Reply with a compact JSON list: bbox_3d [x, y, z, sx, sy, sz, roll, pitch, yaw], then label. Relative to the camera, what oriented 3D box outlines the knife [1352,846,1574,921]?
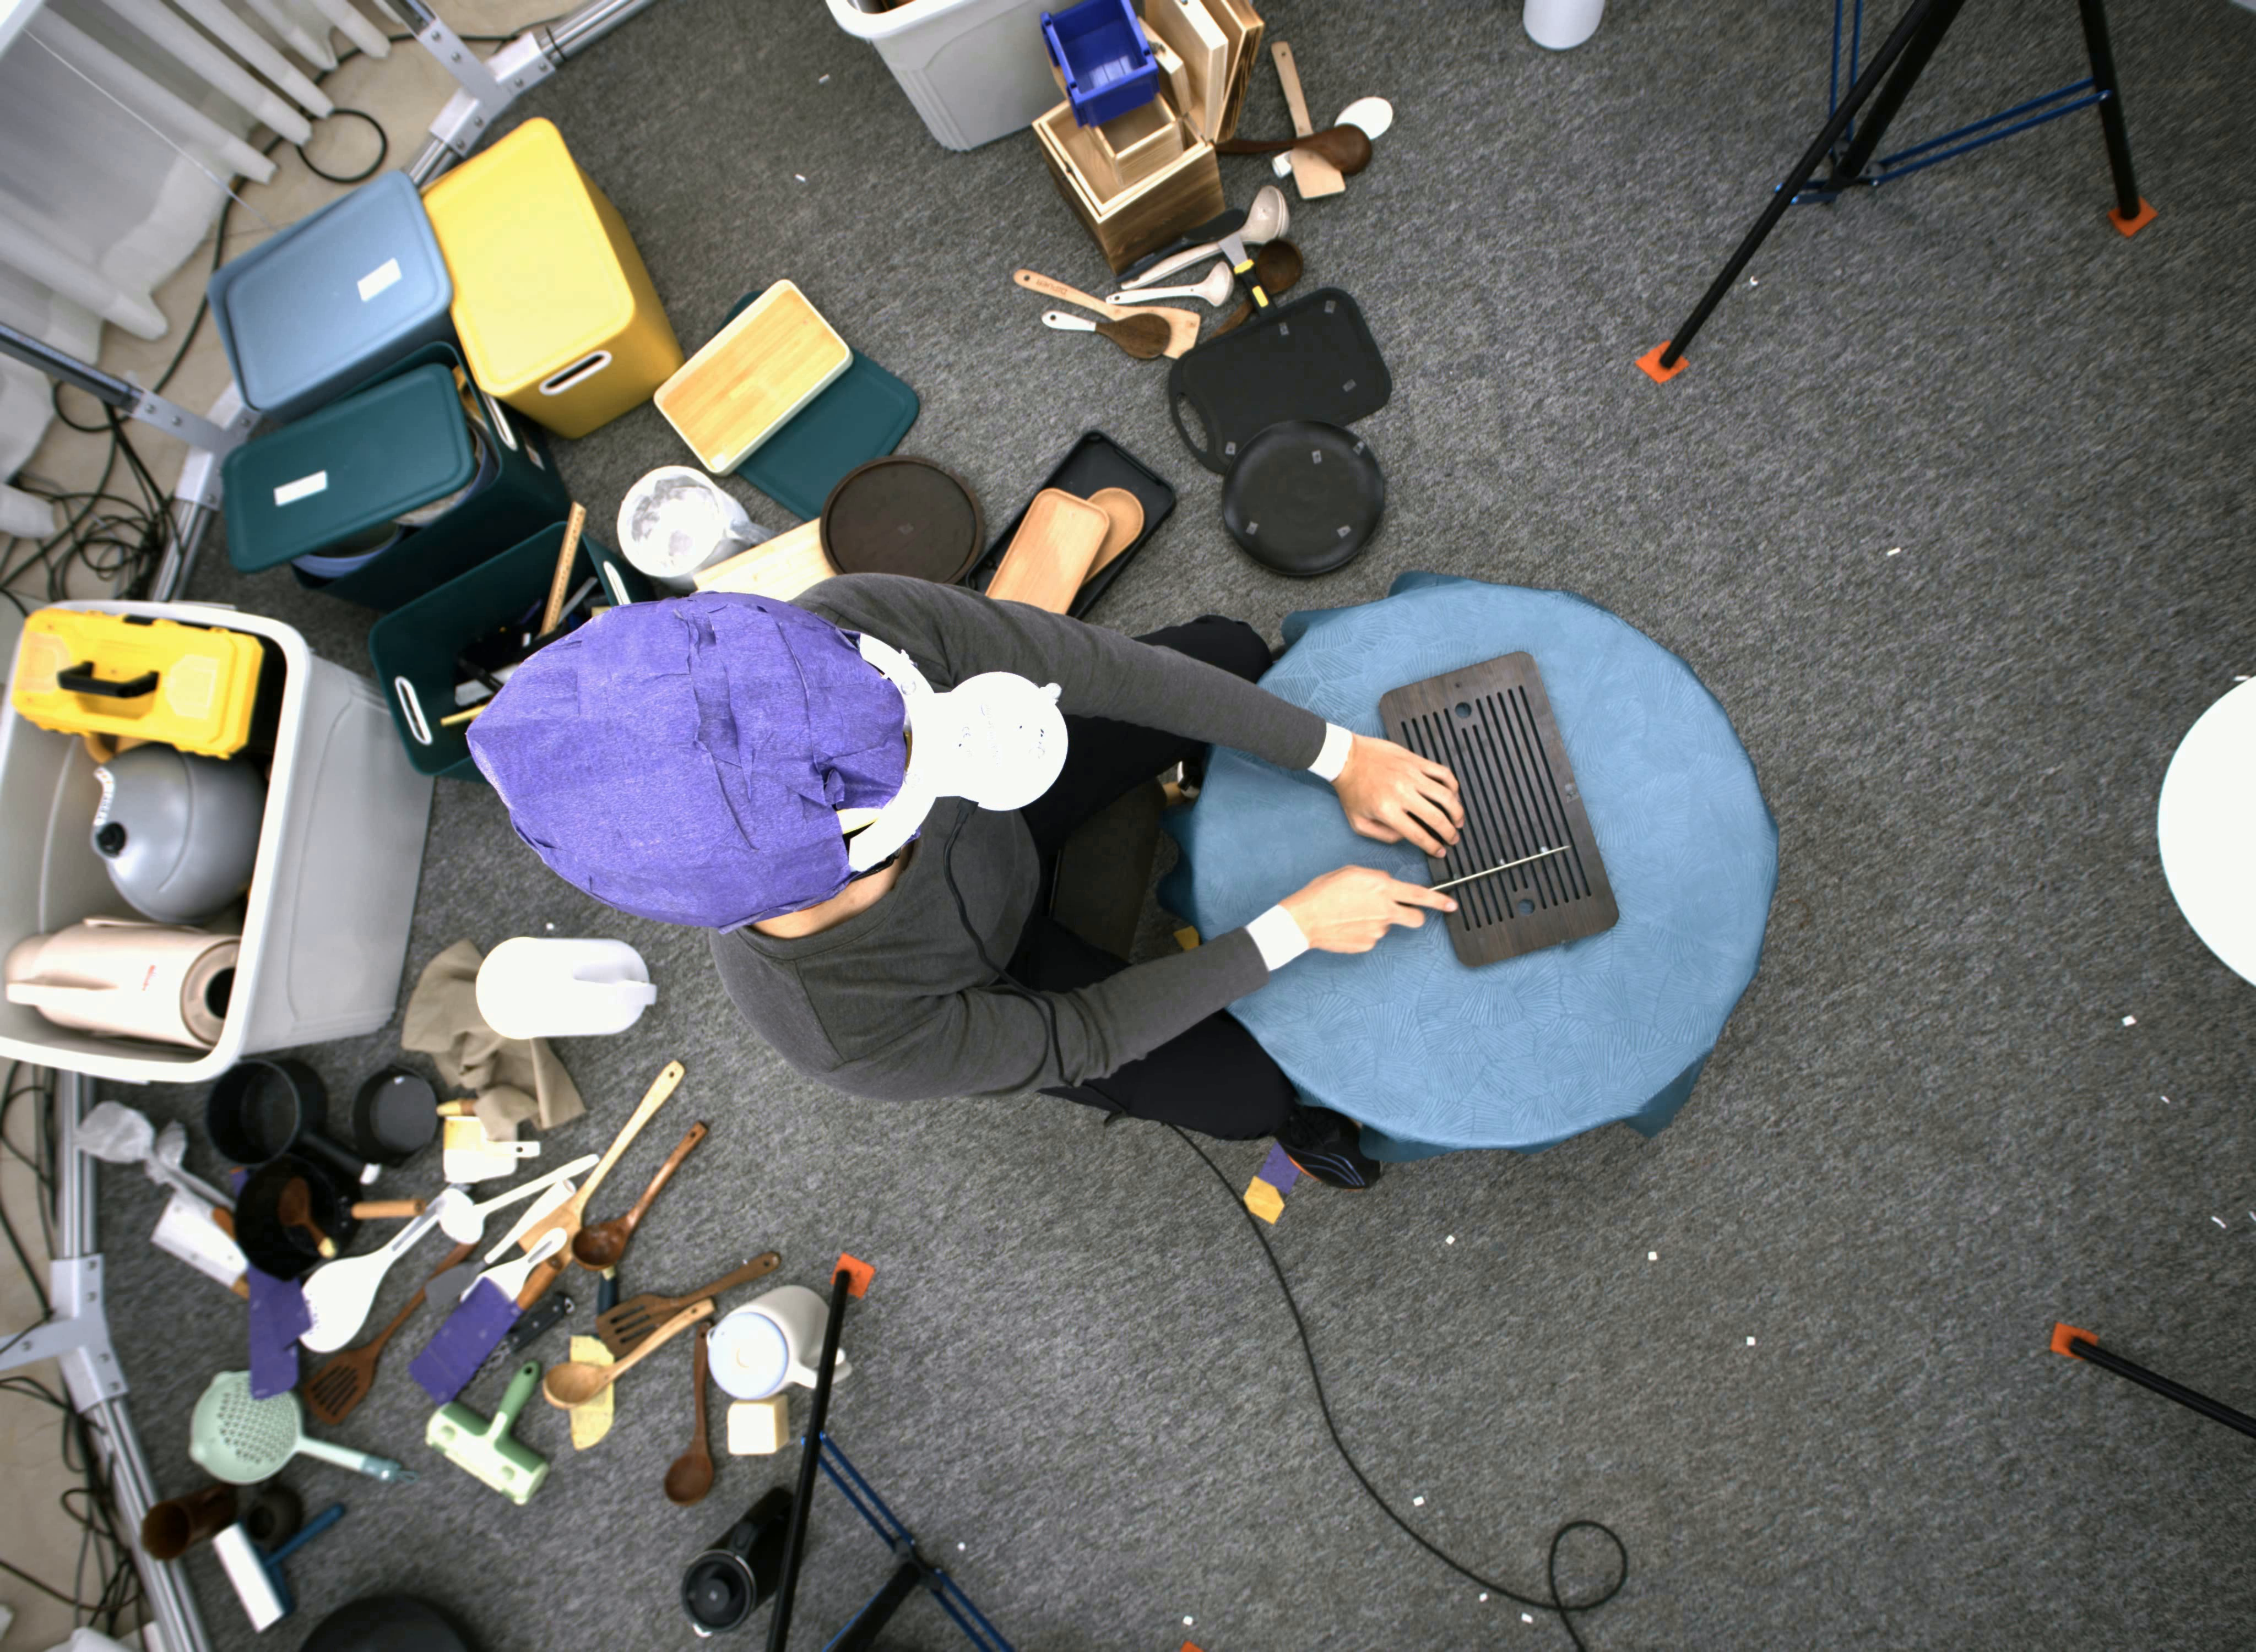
[{"bbox_3d":[0.345,0.054,1.415,0.239,0.024,0.016,-18,81,4],"label":"knife"}]

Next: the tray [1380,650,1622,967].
[{"bbox_3d":[0.387,-0.021,1.434,0.171,0.018,0.304,-17,84,10],"label":"tray"}]
